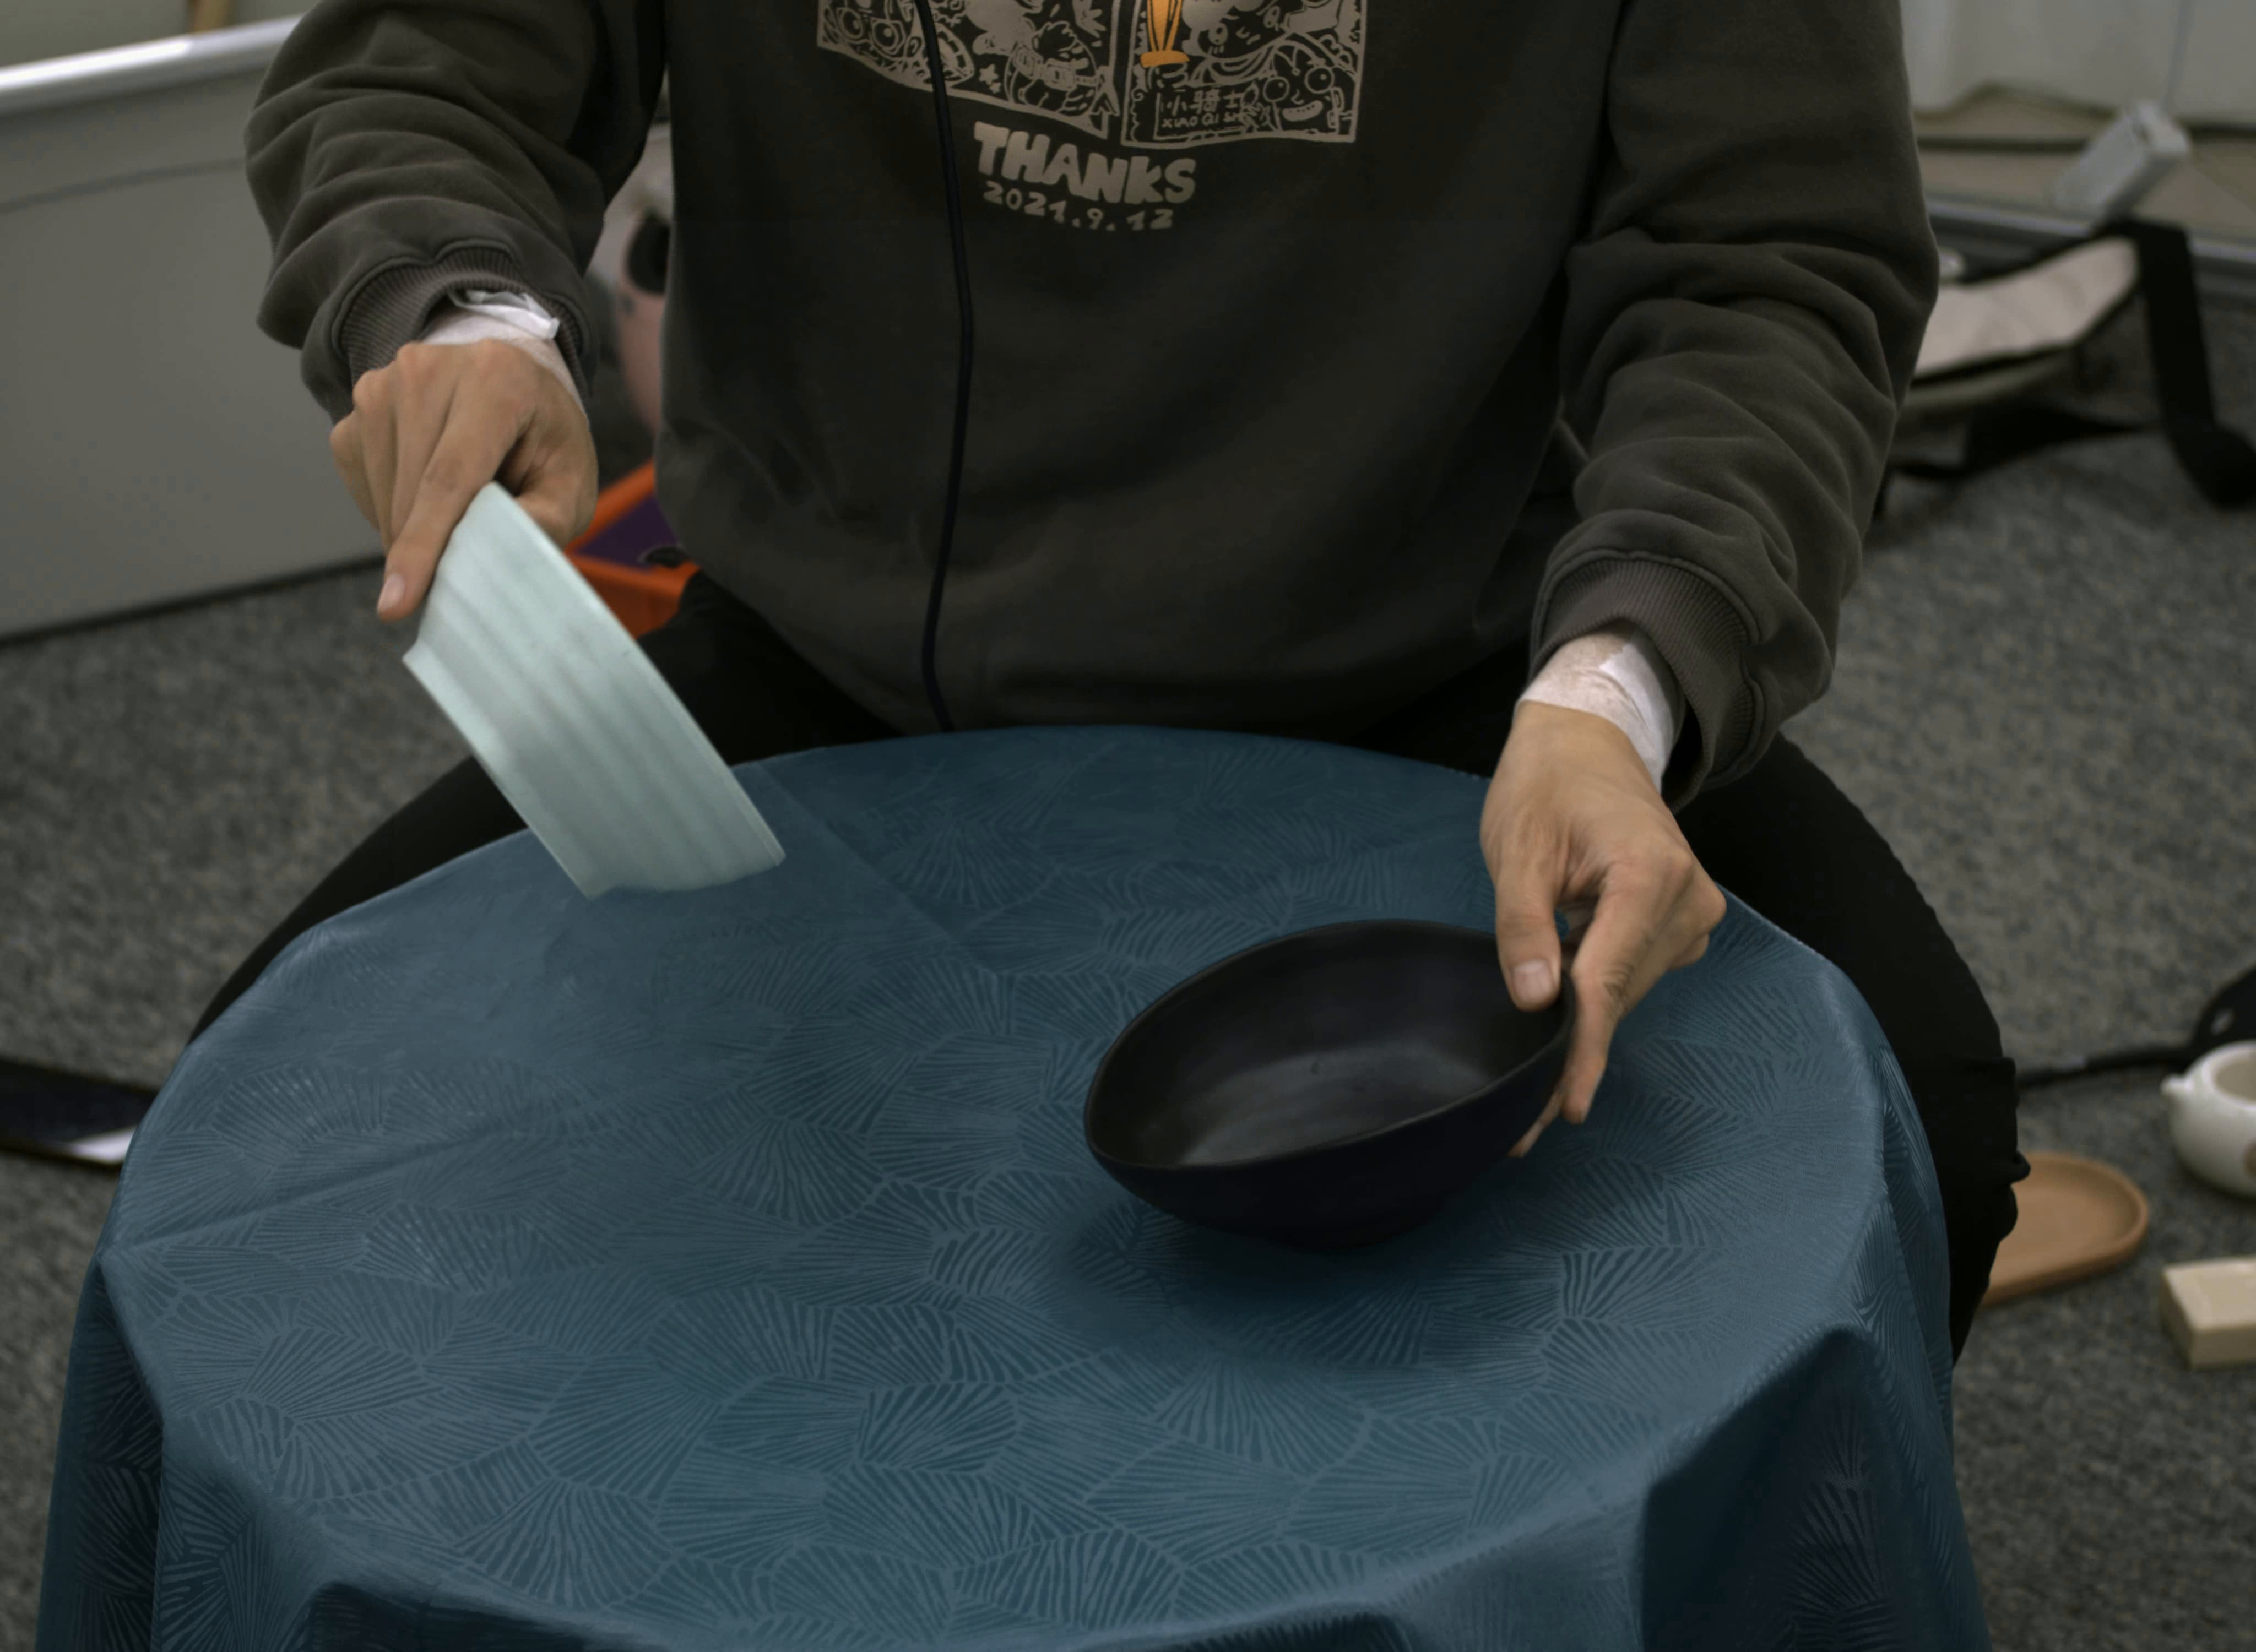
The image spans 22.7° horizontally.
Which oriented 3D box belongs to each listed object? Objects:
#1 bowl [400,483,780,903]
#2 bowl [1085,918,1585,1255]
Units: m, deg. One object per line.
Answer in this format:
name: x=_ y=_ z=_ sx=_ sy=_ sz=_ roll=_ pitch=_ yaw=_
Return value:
bowl: x=-0.177 y=-0.031 z=1.770 sx=0.059 sy=0.150 sz=0.152 roll=-38 pitch=34 yaw=-3
bowl: x=0.071 y=0.096 z=1.830 sx=0.171 sy=0.066 sz=0.138 roll=-19 pitch=29 yaw=-18
